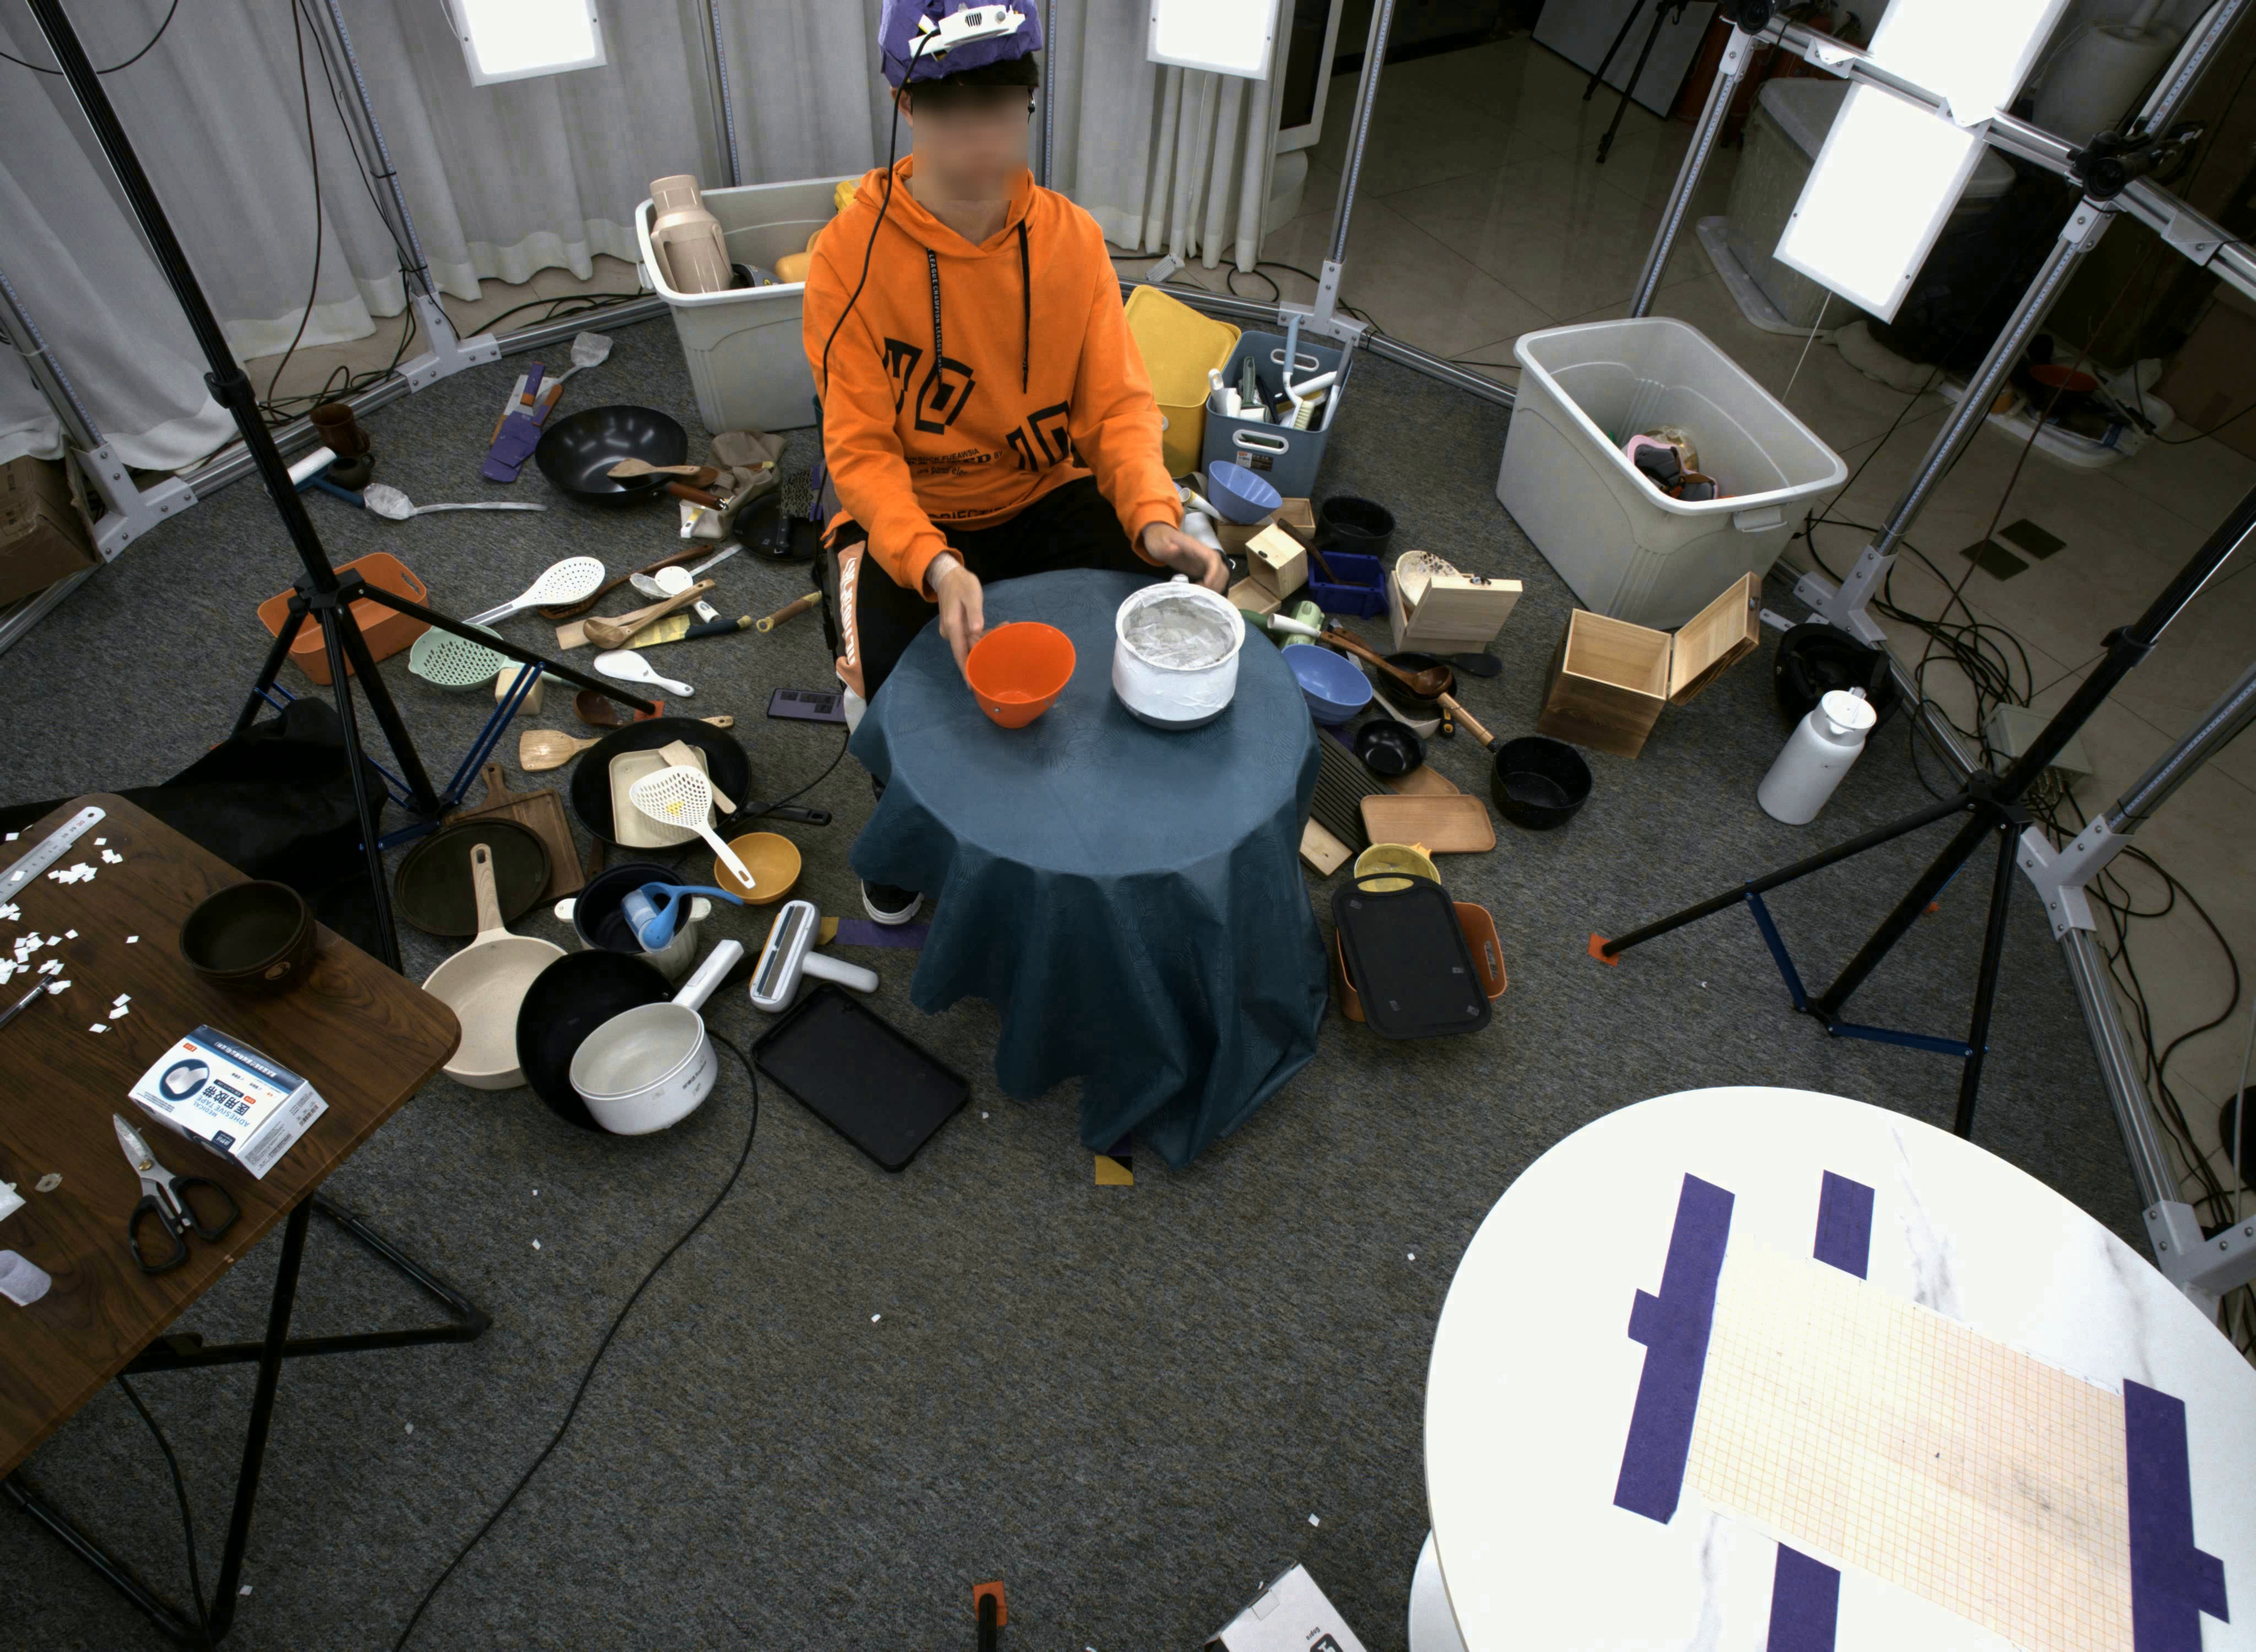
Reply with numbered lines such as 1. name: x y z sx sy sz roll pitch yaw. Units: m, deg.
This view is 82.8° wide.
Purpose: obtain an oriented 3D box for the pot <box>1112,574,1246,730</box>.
1. pot: 0.068 -0.254 1.805 0.178 0.133 0.239 3 49 -2

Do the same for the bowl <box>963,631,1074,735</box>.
1. bowl: -0.152 -0.187 1.767 0.148 0.102 0.152 5 44 -5
